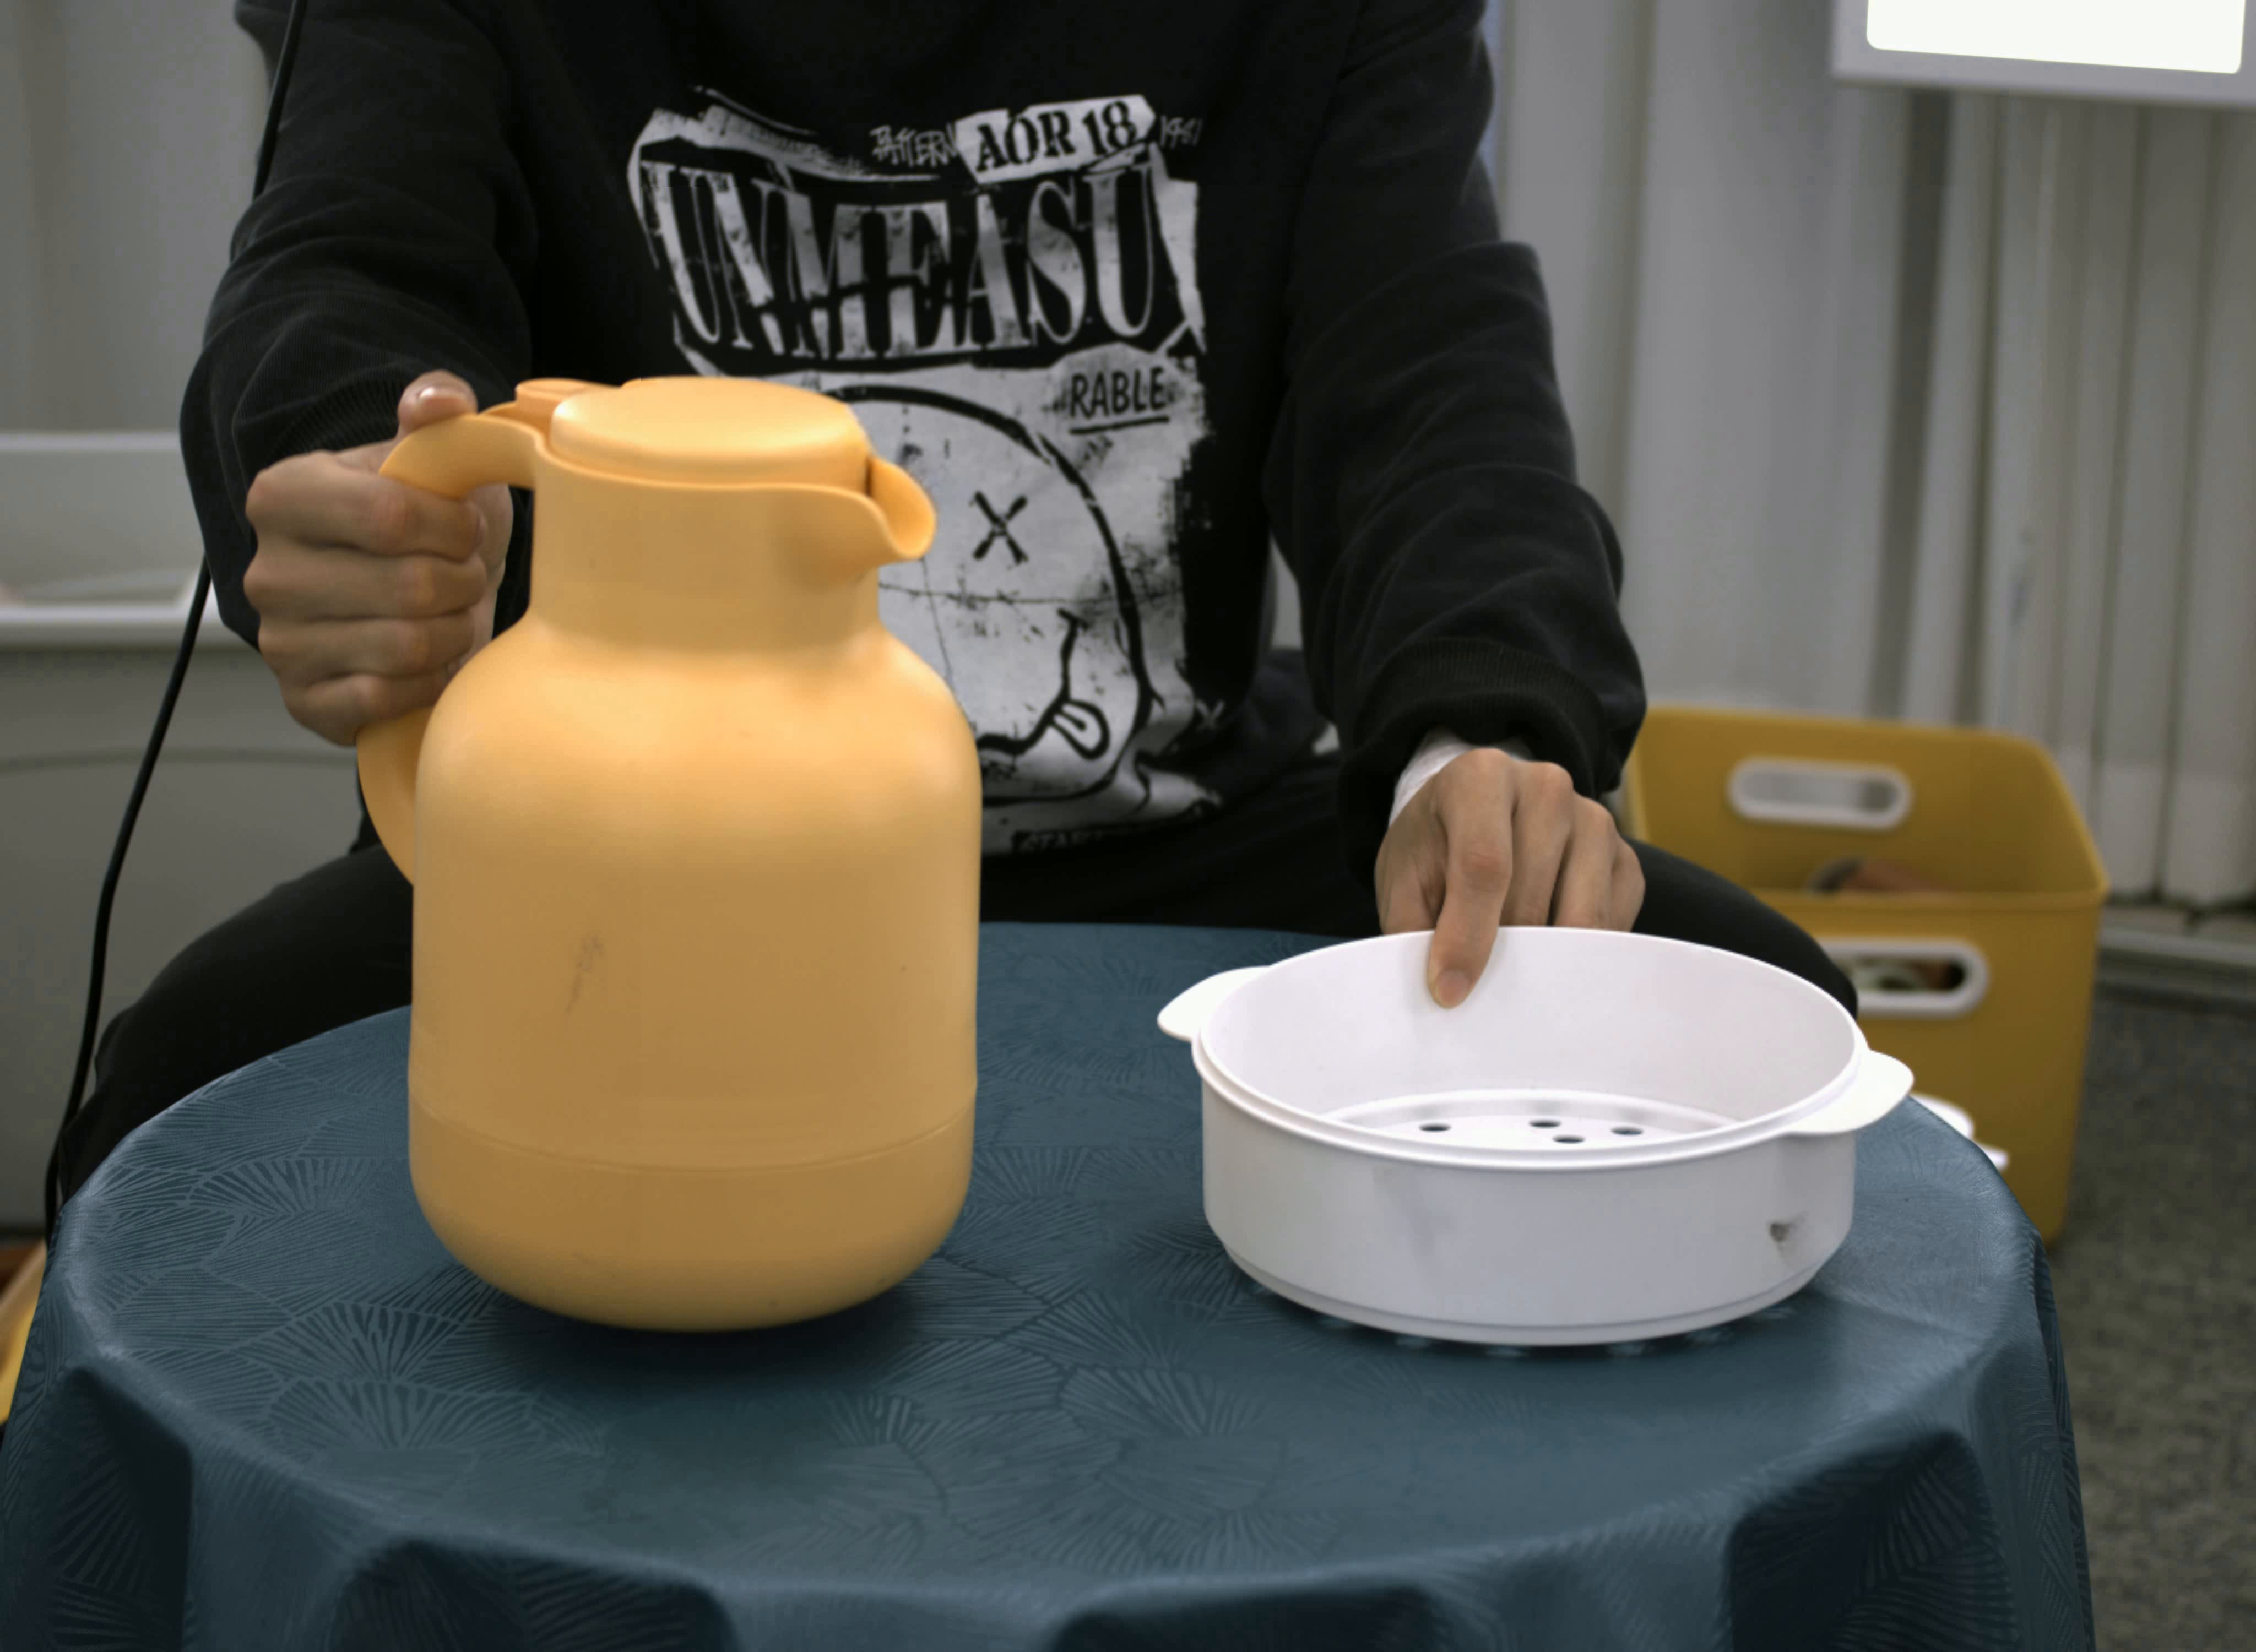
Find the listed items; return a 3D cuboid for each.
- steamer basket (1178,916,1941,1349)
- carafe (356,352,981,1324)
[{"bbox_3d":[0.124,0.090,1.562,0.228,0.070,0.202,11,21,23],"label":"steamer basket"},{"bbox_3d":[-0.137,-0.005,1.497,0.200,0.262,0.164,17,19,33],"label":"carafe"}]
